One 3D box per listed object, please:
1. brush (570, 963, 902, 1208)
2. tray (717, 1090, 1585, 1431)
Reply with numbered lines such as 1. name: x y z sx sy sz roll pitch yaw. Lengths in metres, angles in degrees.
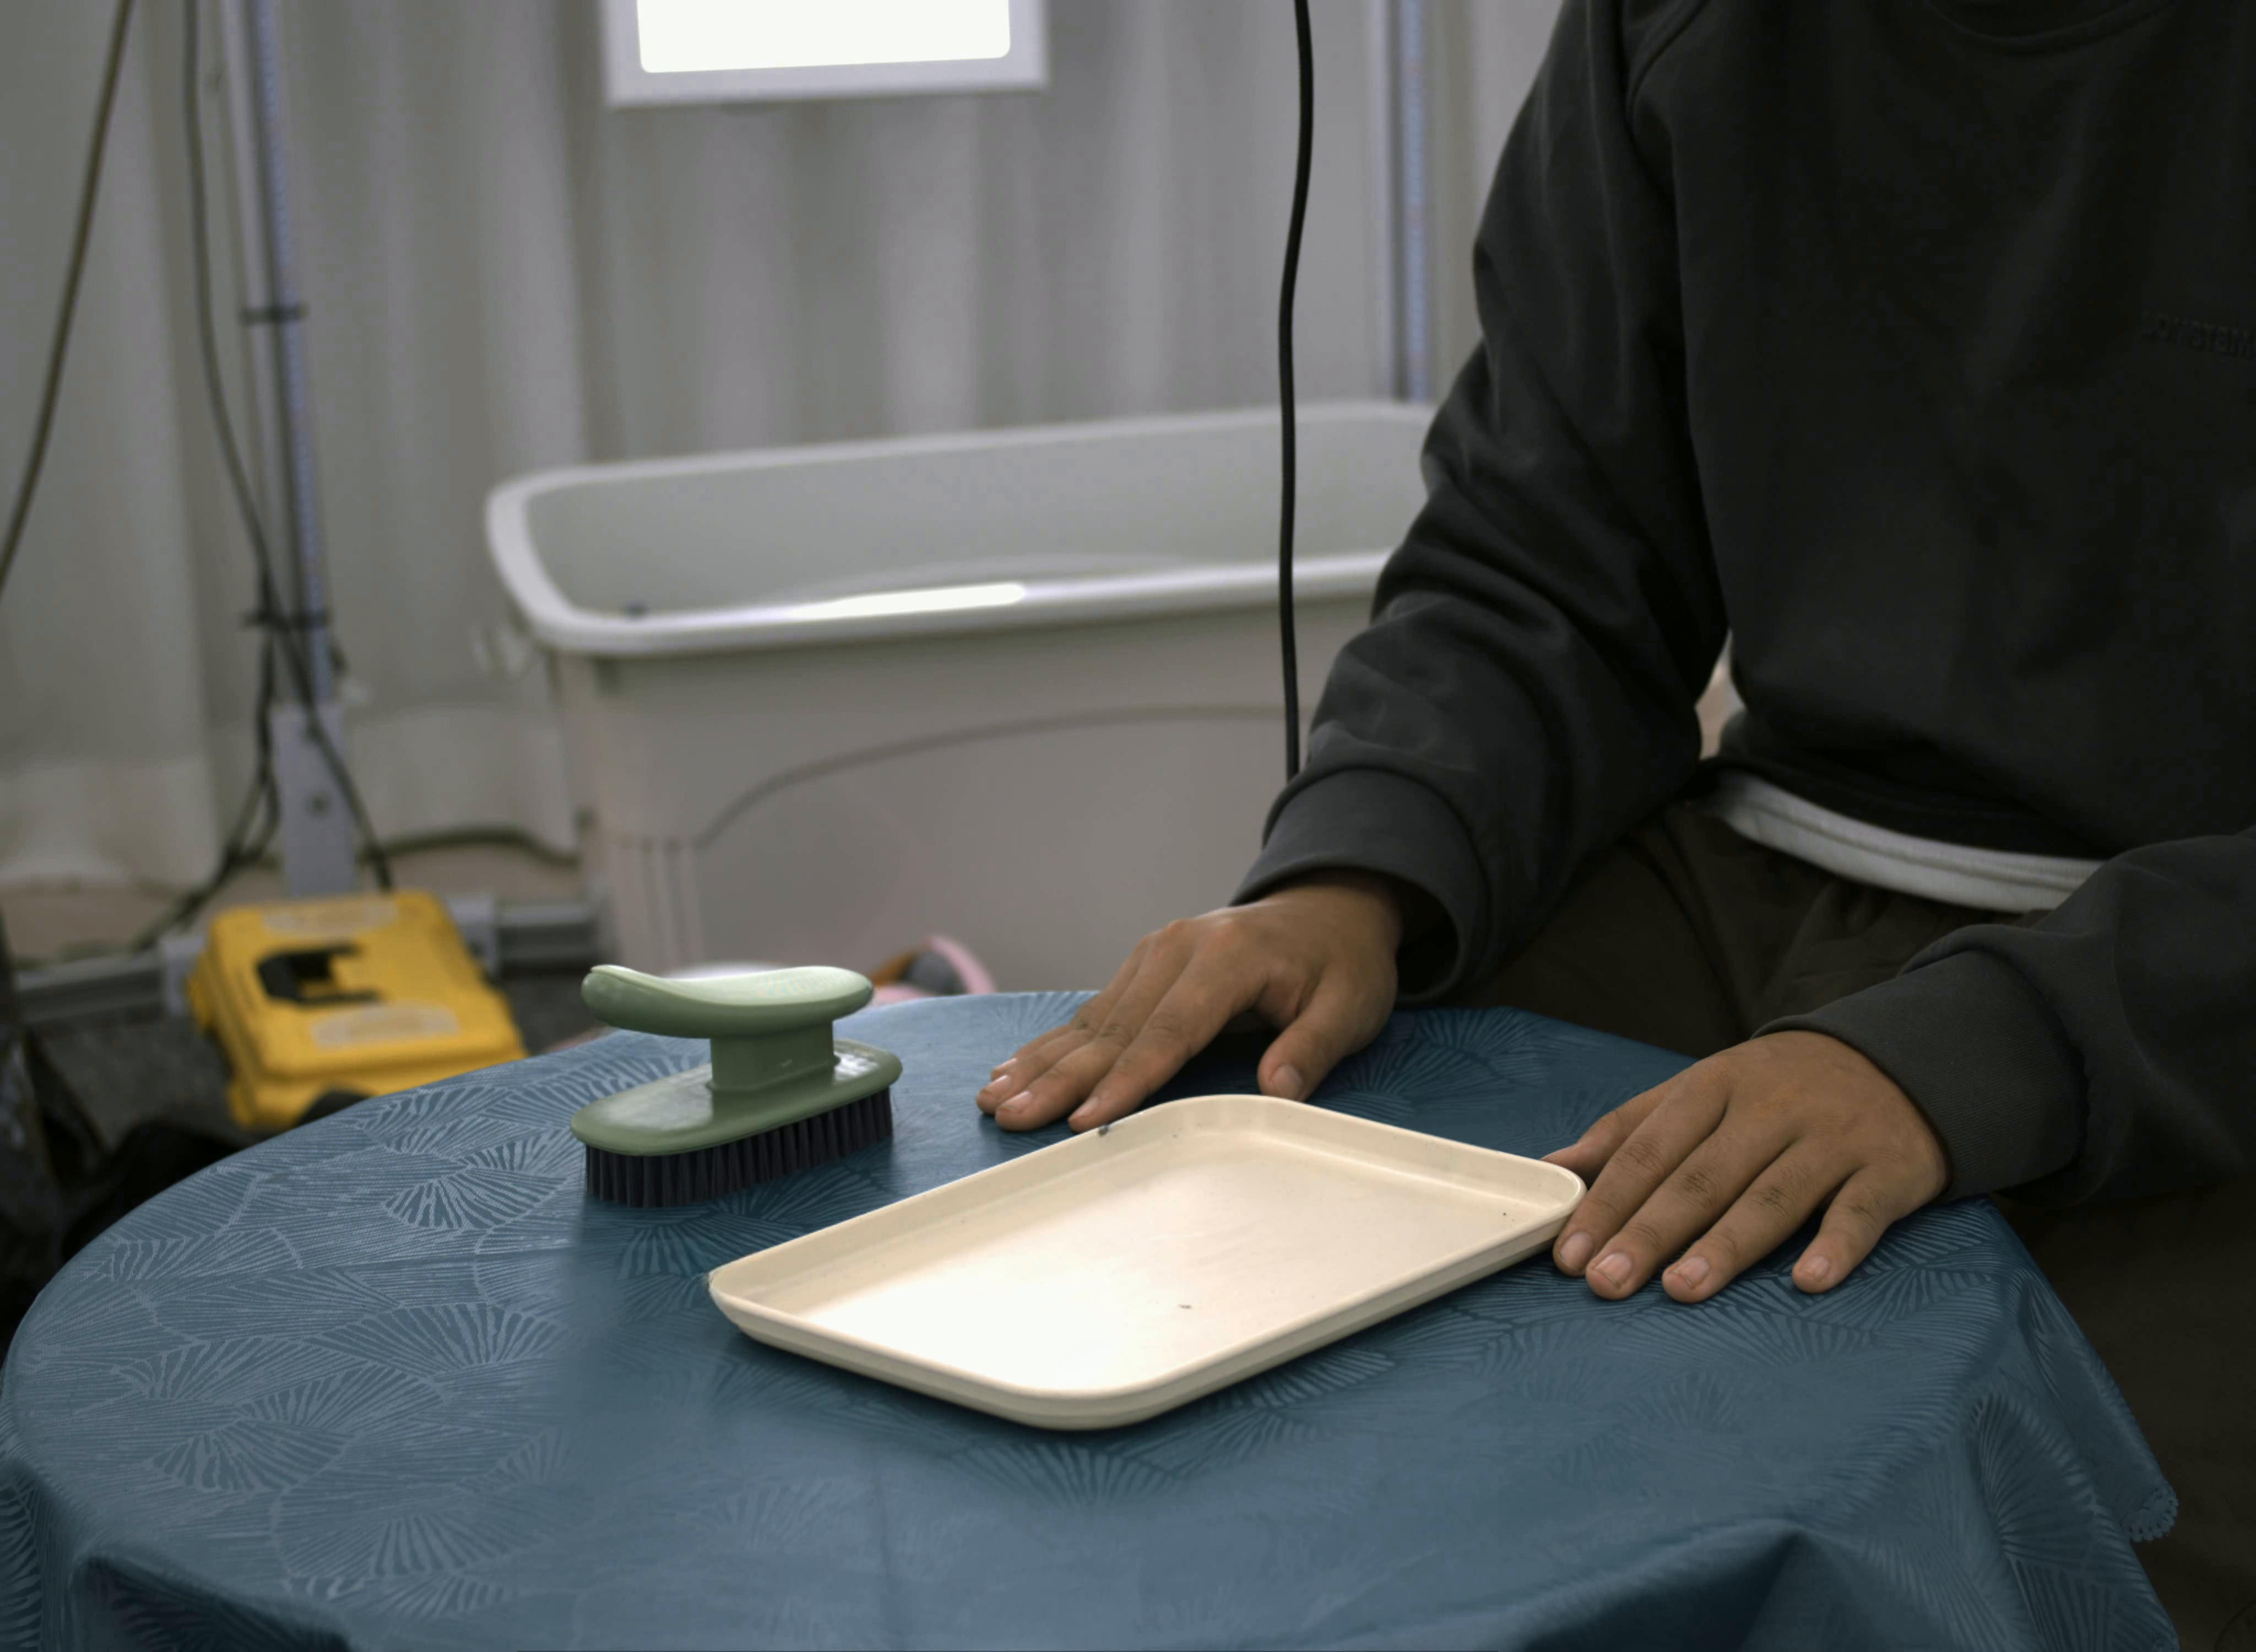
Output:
1. brush: -0.127 0.083 1.758 0.060 0.076 0.122 12 7 43
2. tray: 0.009 0.128 1.630 0.172 0.017 0.239 12 21 42
